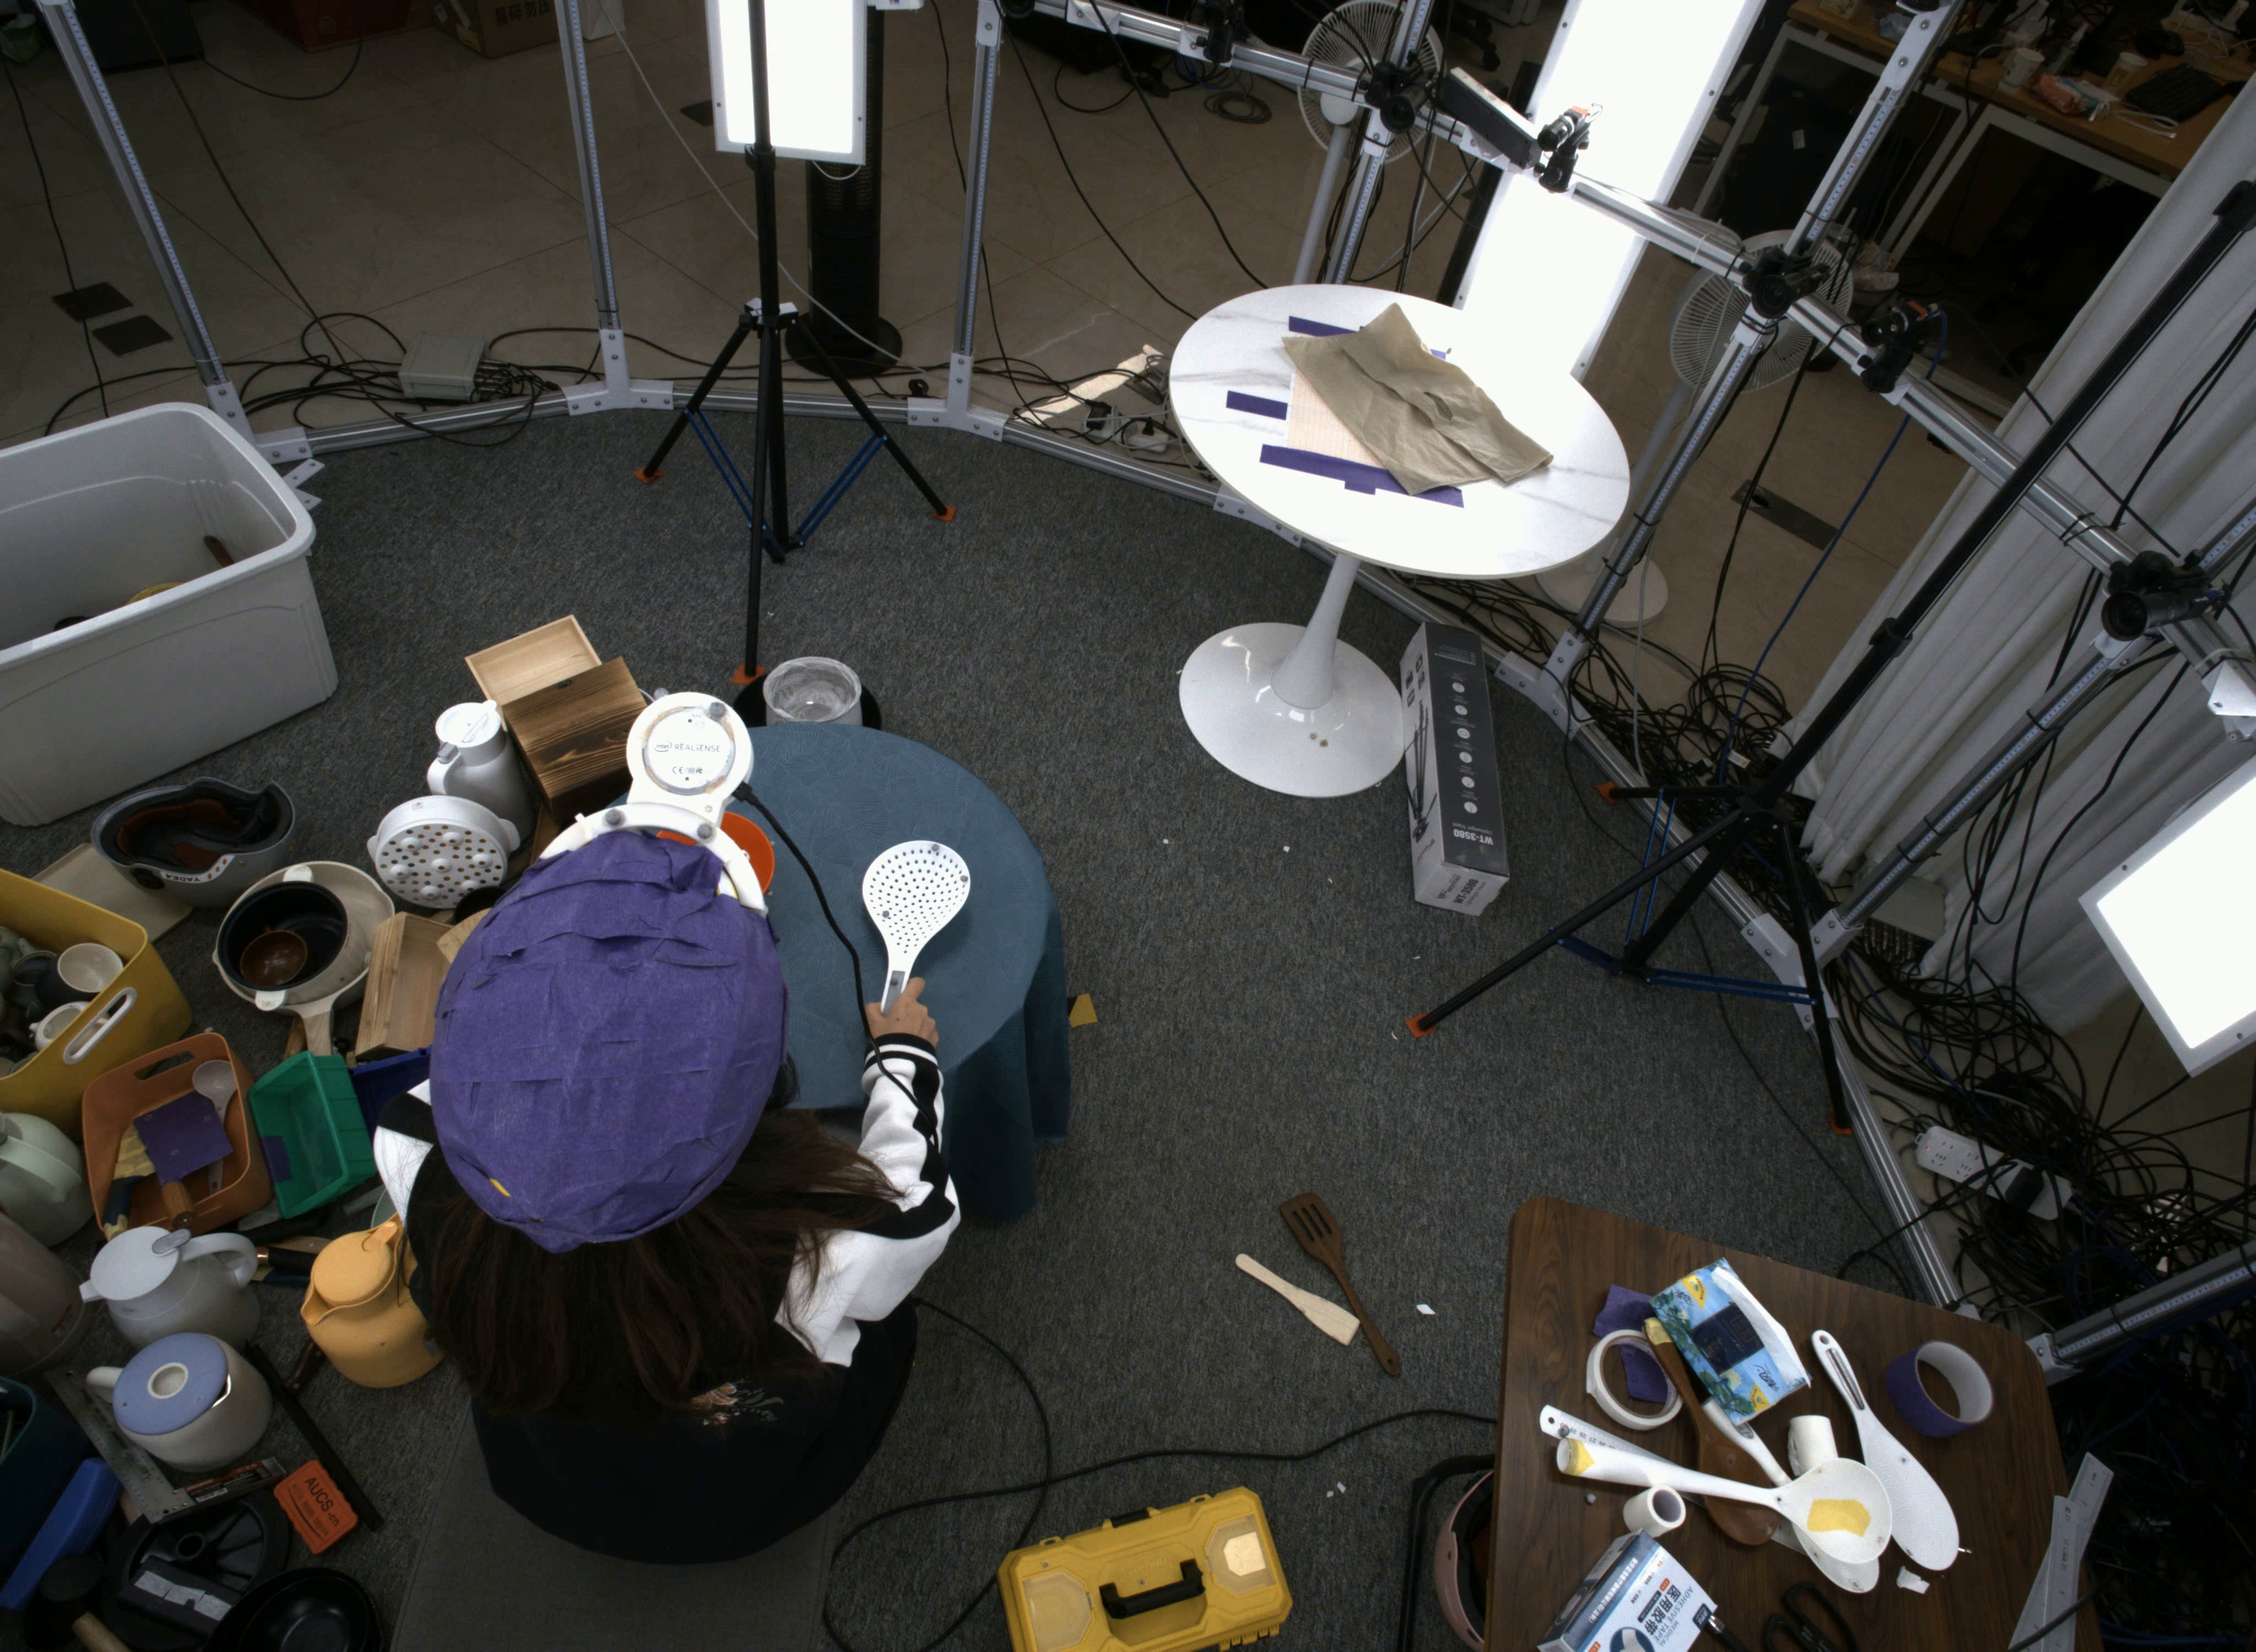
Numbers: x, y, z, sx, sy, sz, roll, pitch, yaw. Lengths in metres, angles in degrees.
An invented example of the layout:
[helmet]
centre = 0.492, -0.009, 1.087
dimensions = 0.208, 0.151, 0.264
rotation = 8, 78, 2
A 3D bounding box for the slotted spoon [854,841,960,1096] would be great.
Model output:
[slotted spoon]
centre = -0.288, 0.165, 1.595
dimensions = 0.134, 0.047, 0.344
rotation = 5, 51, 1

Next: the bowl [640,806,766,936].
[bowl]
centre = -0.519, 0.064, 1.572
dimensions = 0.148, 0.106, 0.145
rotation = 13, 47, -12
